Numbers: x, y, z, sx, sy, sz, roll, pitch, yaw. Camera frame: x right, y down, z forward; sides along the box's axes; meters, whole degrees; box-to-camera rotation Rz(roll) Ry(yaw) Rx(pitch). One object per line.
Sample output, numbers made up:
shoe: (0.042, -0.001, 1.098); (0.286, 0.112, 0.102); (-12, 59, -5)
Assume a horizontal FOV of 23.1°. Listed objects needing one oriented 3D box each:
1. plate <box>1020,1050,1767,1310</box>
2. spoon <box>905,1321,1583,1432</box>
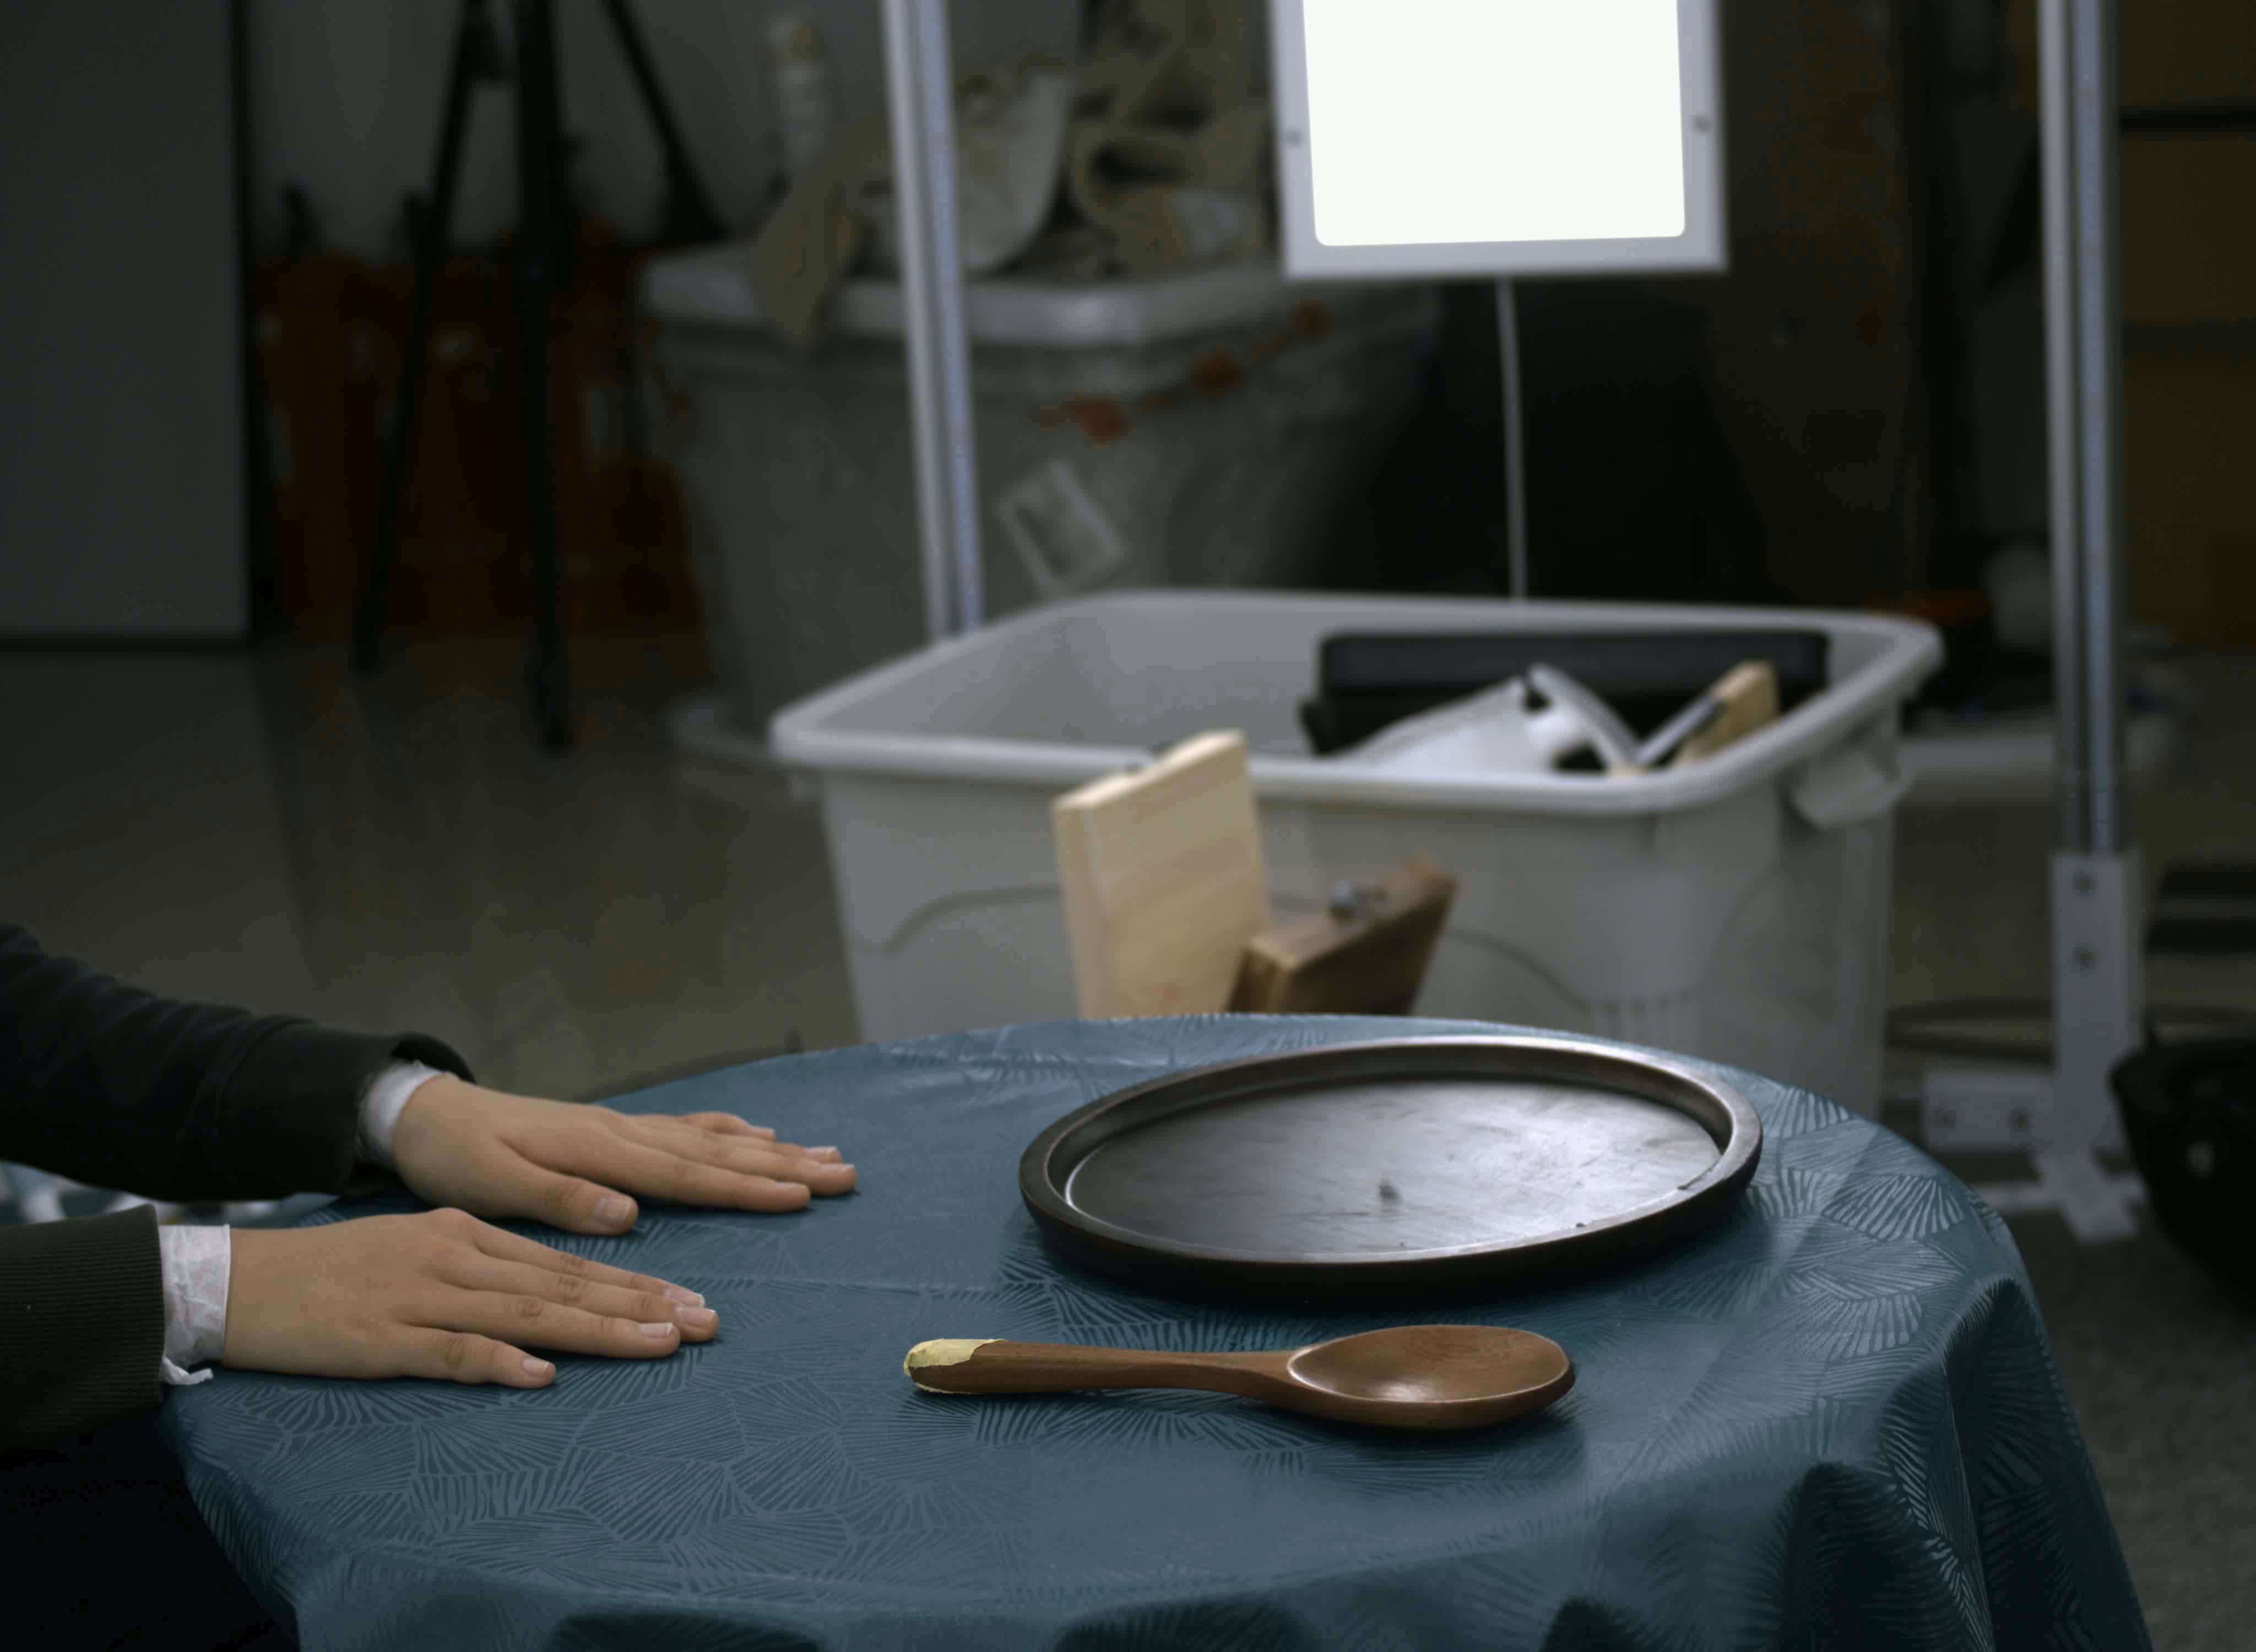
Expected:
plate: (0.090, 0.117, 1.859); (0.254, 0.029, 0.254); (-4, 13, 0)
spoon: (0.034, 0.167, 1.681); (0.219, 0.017, 0.074); (1, 15, 21)
